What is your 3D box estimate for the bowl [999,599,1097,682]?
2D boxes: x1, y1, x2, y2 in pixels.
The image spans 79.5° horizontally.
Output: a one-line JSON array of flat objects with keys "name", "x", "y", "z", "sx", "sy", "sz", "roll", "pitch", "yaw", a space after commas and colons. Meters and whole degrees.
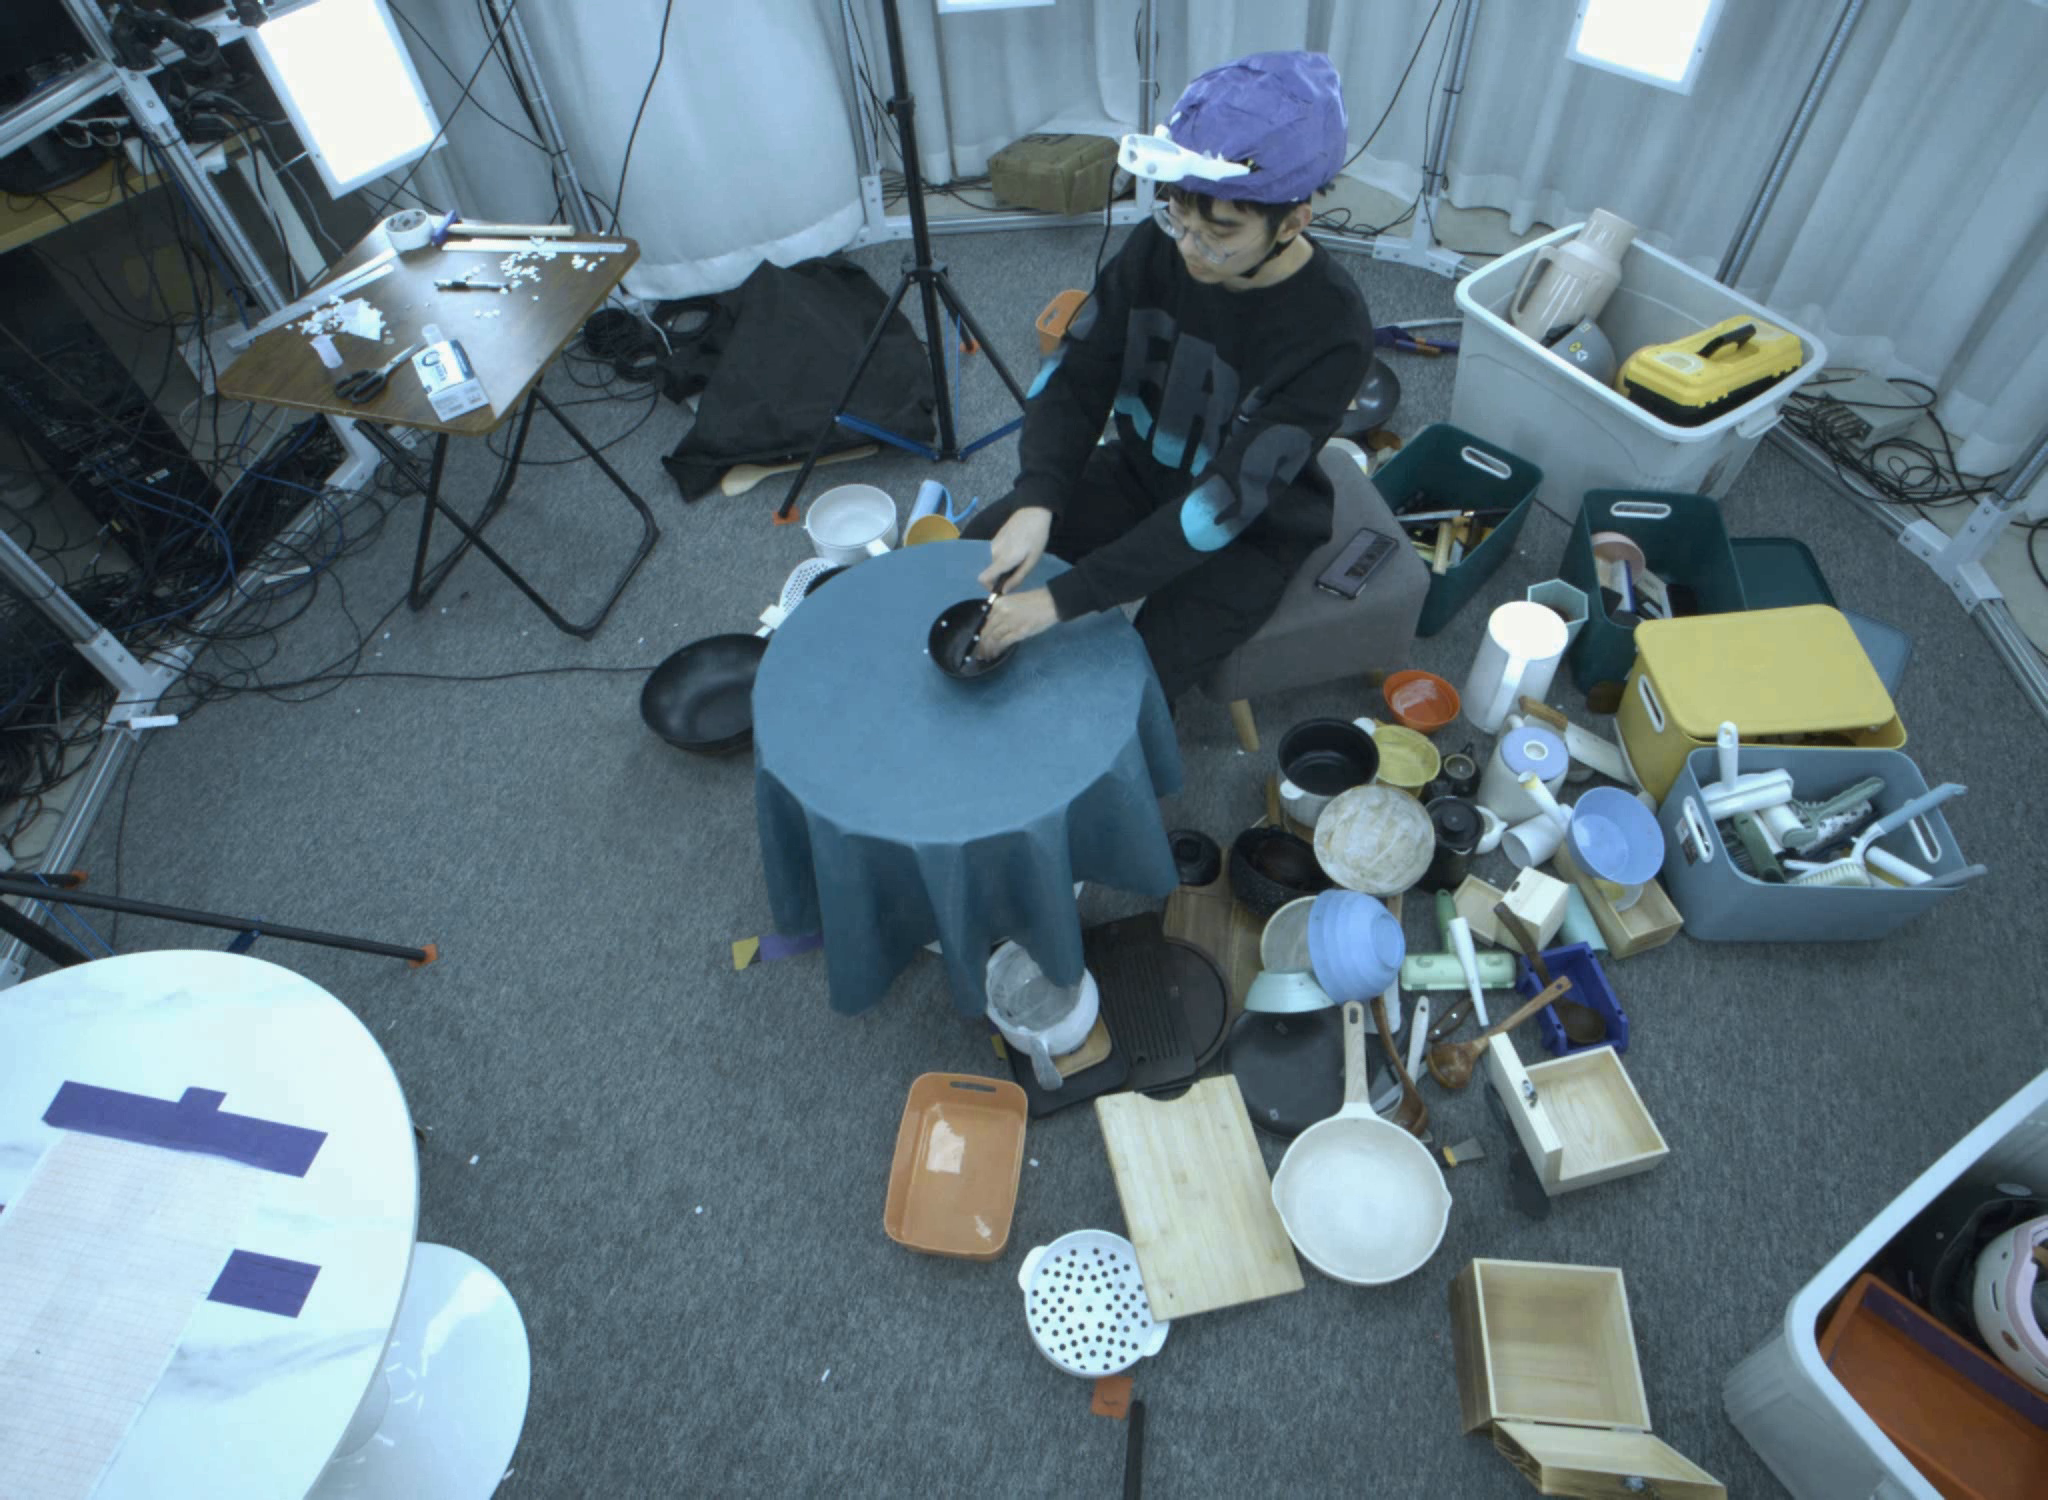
[{"name": "bowl", "x": 0.037, "y": -0.158, "z": 1.858, "sx": 0.135, "sy": 0.067, "sz": 0.171, "roll": 23, "pitch": 57, "yaw": 17}]

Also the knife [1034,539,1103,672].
[{"name": "knife", "x": 0.063, "y": -0.216, "z": 1.853, "sx": 0.017, "sy": 0.027, "sz": 0.225, "roll": 25, "pitch": 87, "yaw": 39}]
